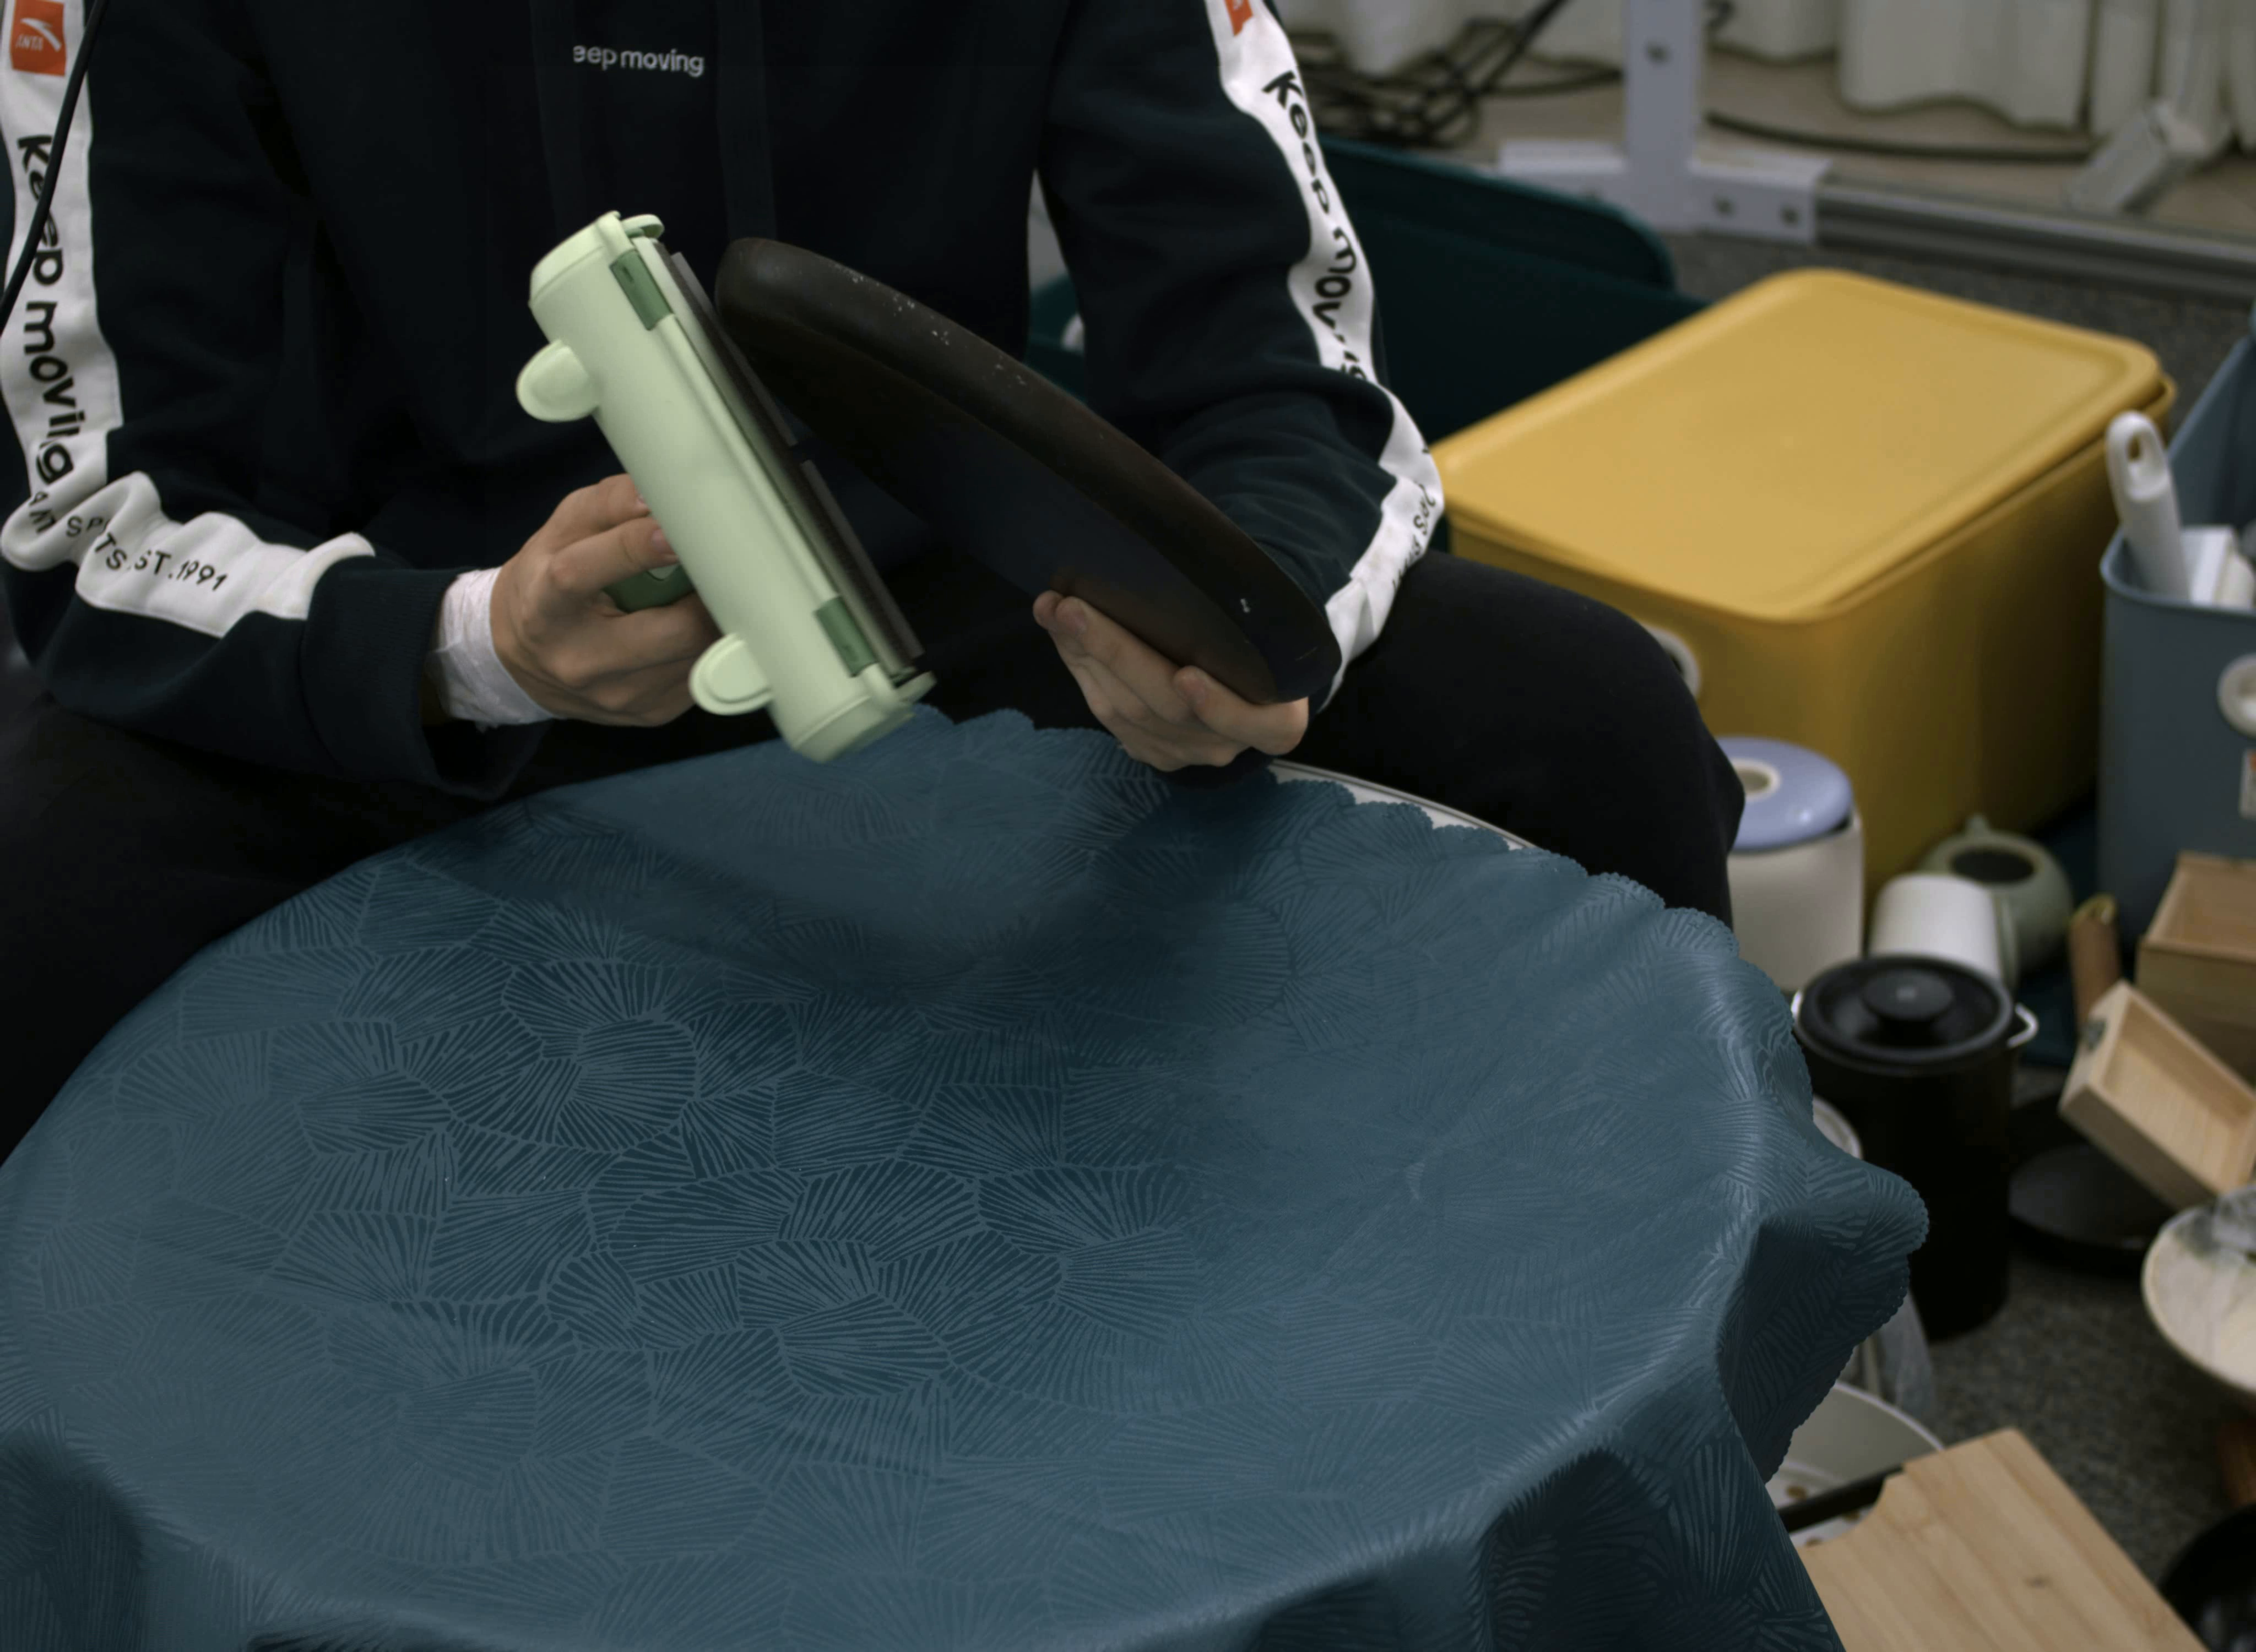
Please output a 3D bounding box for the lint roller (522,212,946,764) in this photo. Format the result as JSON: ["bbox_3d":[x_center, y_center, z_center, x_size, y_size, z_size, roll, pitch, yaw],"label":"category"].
[{"bbox_3d":[-0.163,-0.092,1.944,0.083,0.199,0.180,-29,-5,-37],"label":"lint roller"}]

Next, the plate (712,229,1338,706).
[{"bbox_3d":[-0.038,-0.117,1.906,0.255,0.253,0.029,27,79,43],"label":"plate"}]
